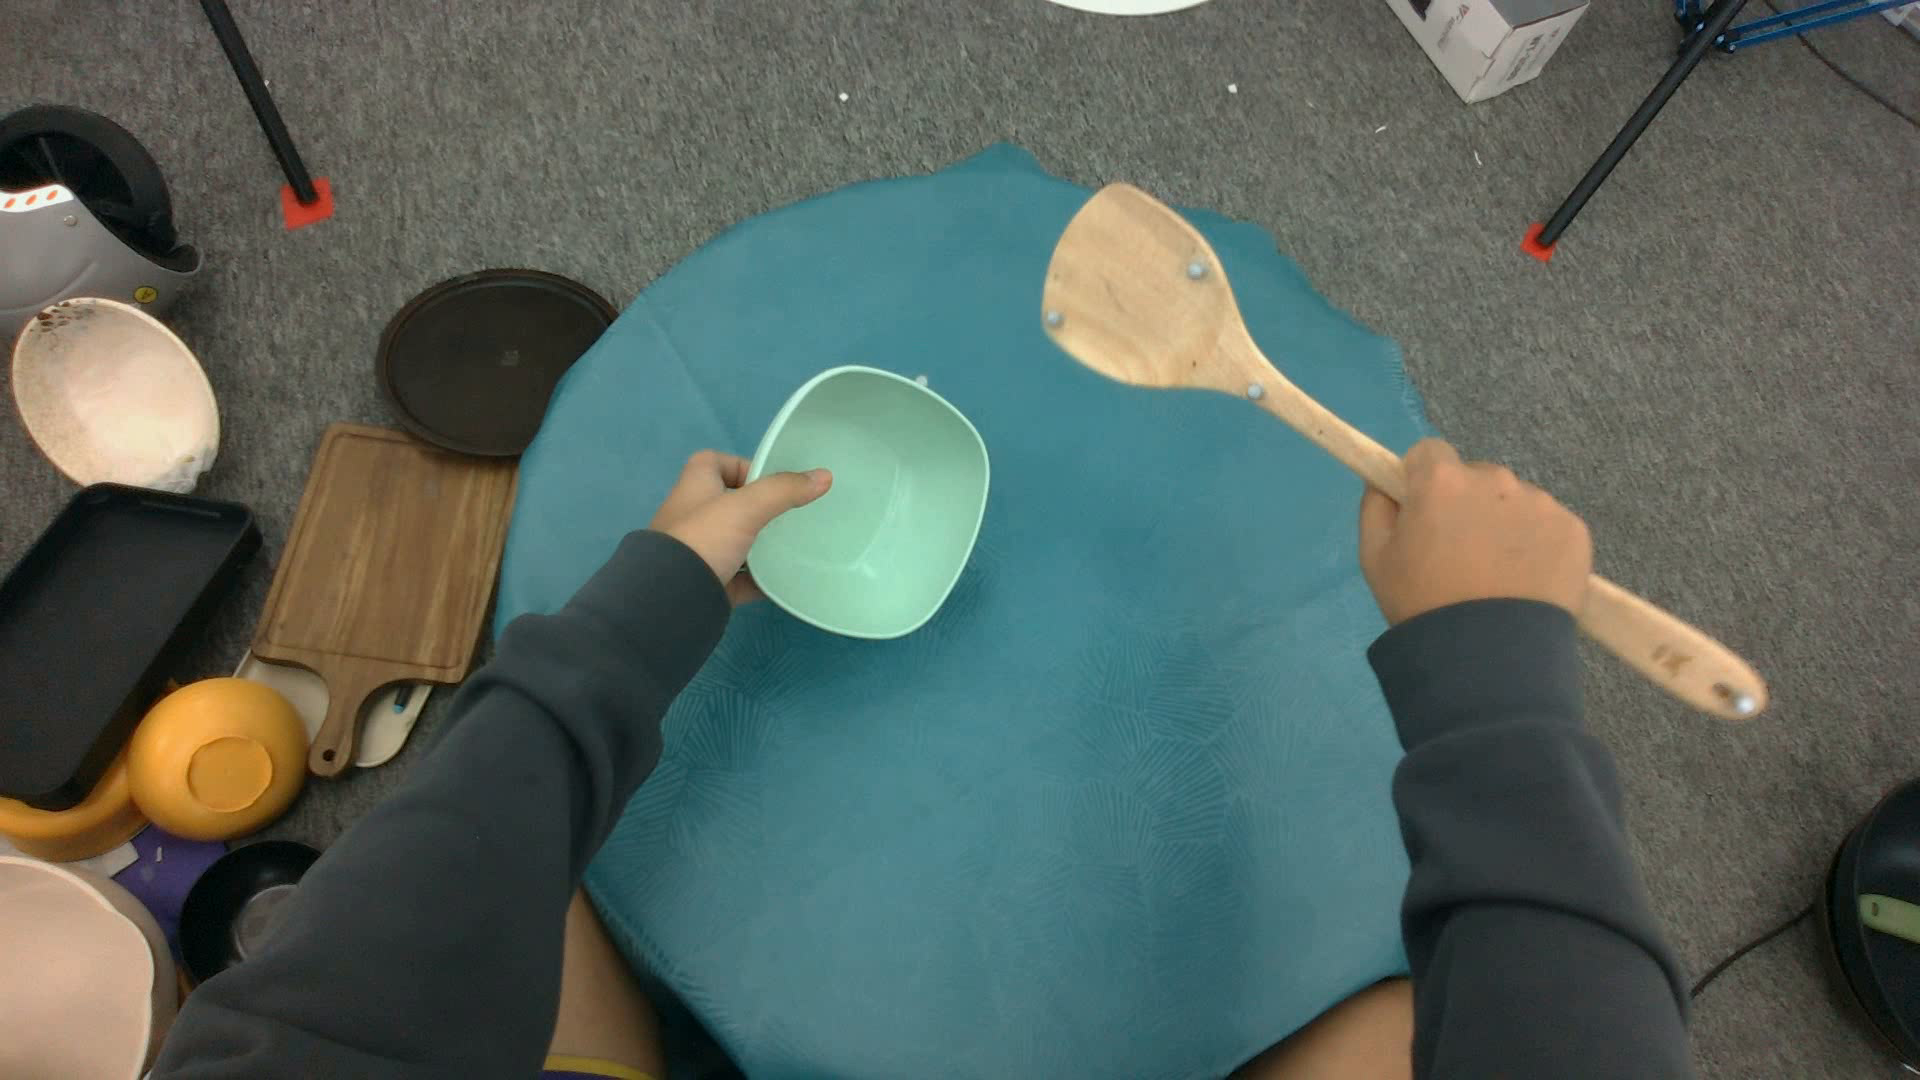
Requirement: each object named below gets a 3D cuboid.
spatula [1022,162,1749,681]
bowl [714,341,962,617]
[{"bbox_3d":[0.197,-0.052,0.658,0.391,0.095,0.018,35,40,13],"label":"spatula"},{"bbox_3d":[-0.074,-0.034,0.740,0.152,0.058,0.151,-7,102,-35],"label":"bowl"}]
